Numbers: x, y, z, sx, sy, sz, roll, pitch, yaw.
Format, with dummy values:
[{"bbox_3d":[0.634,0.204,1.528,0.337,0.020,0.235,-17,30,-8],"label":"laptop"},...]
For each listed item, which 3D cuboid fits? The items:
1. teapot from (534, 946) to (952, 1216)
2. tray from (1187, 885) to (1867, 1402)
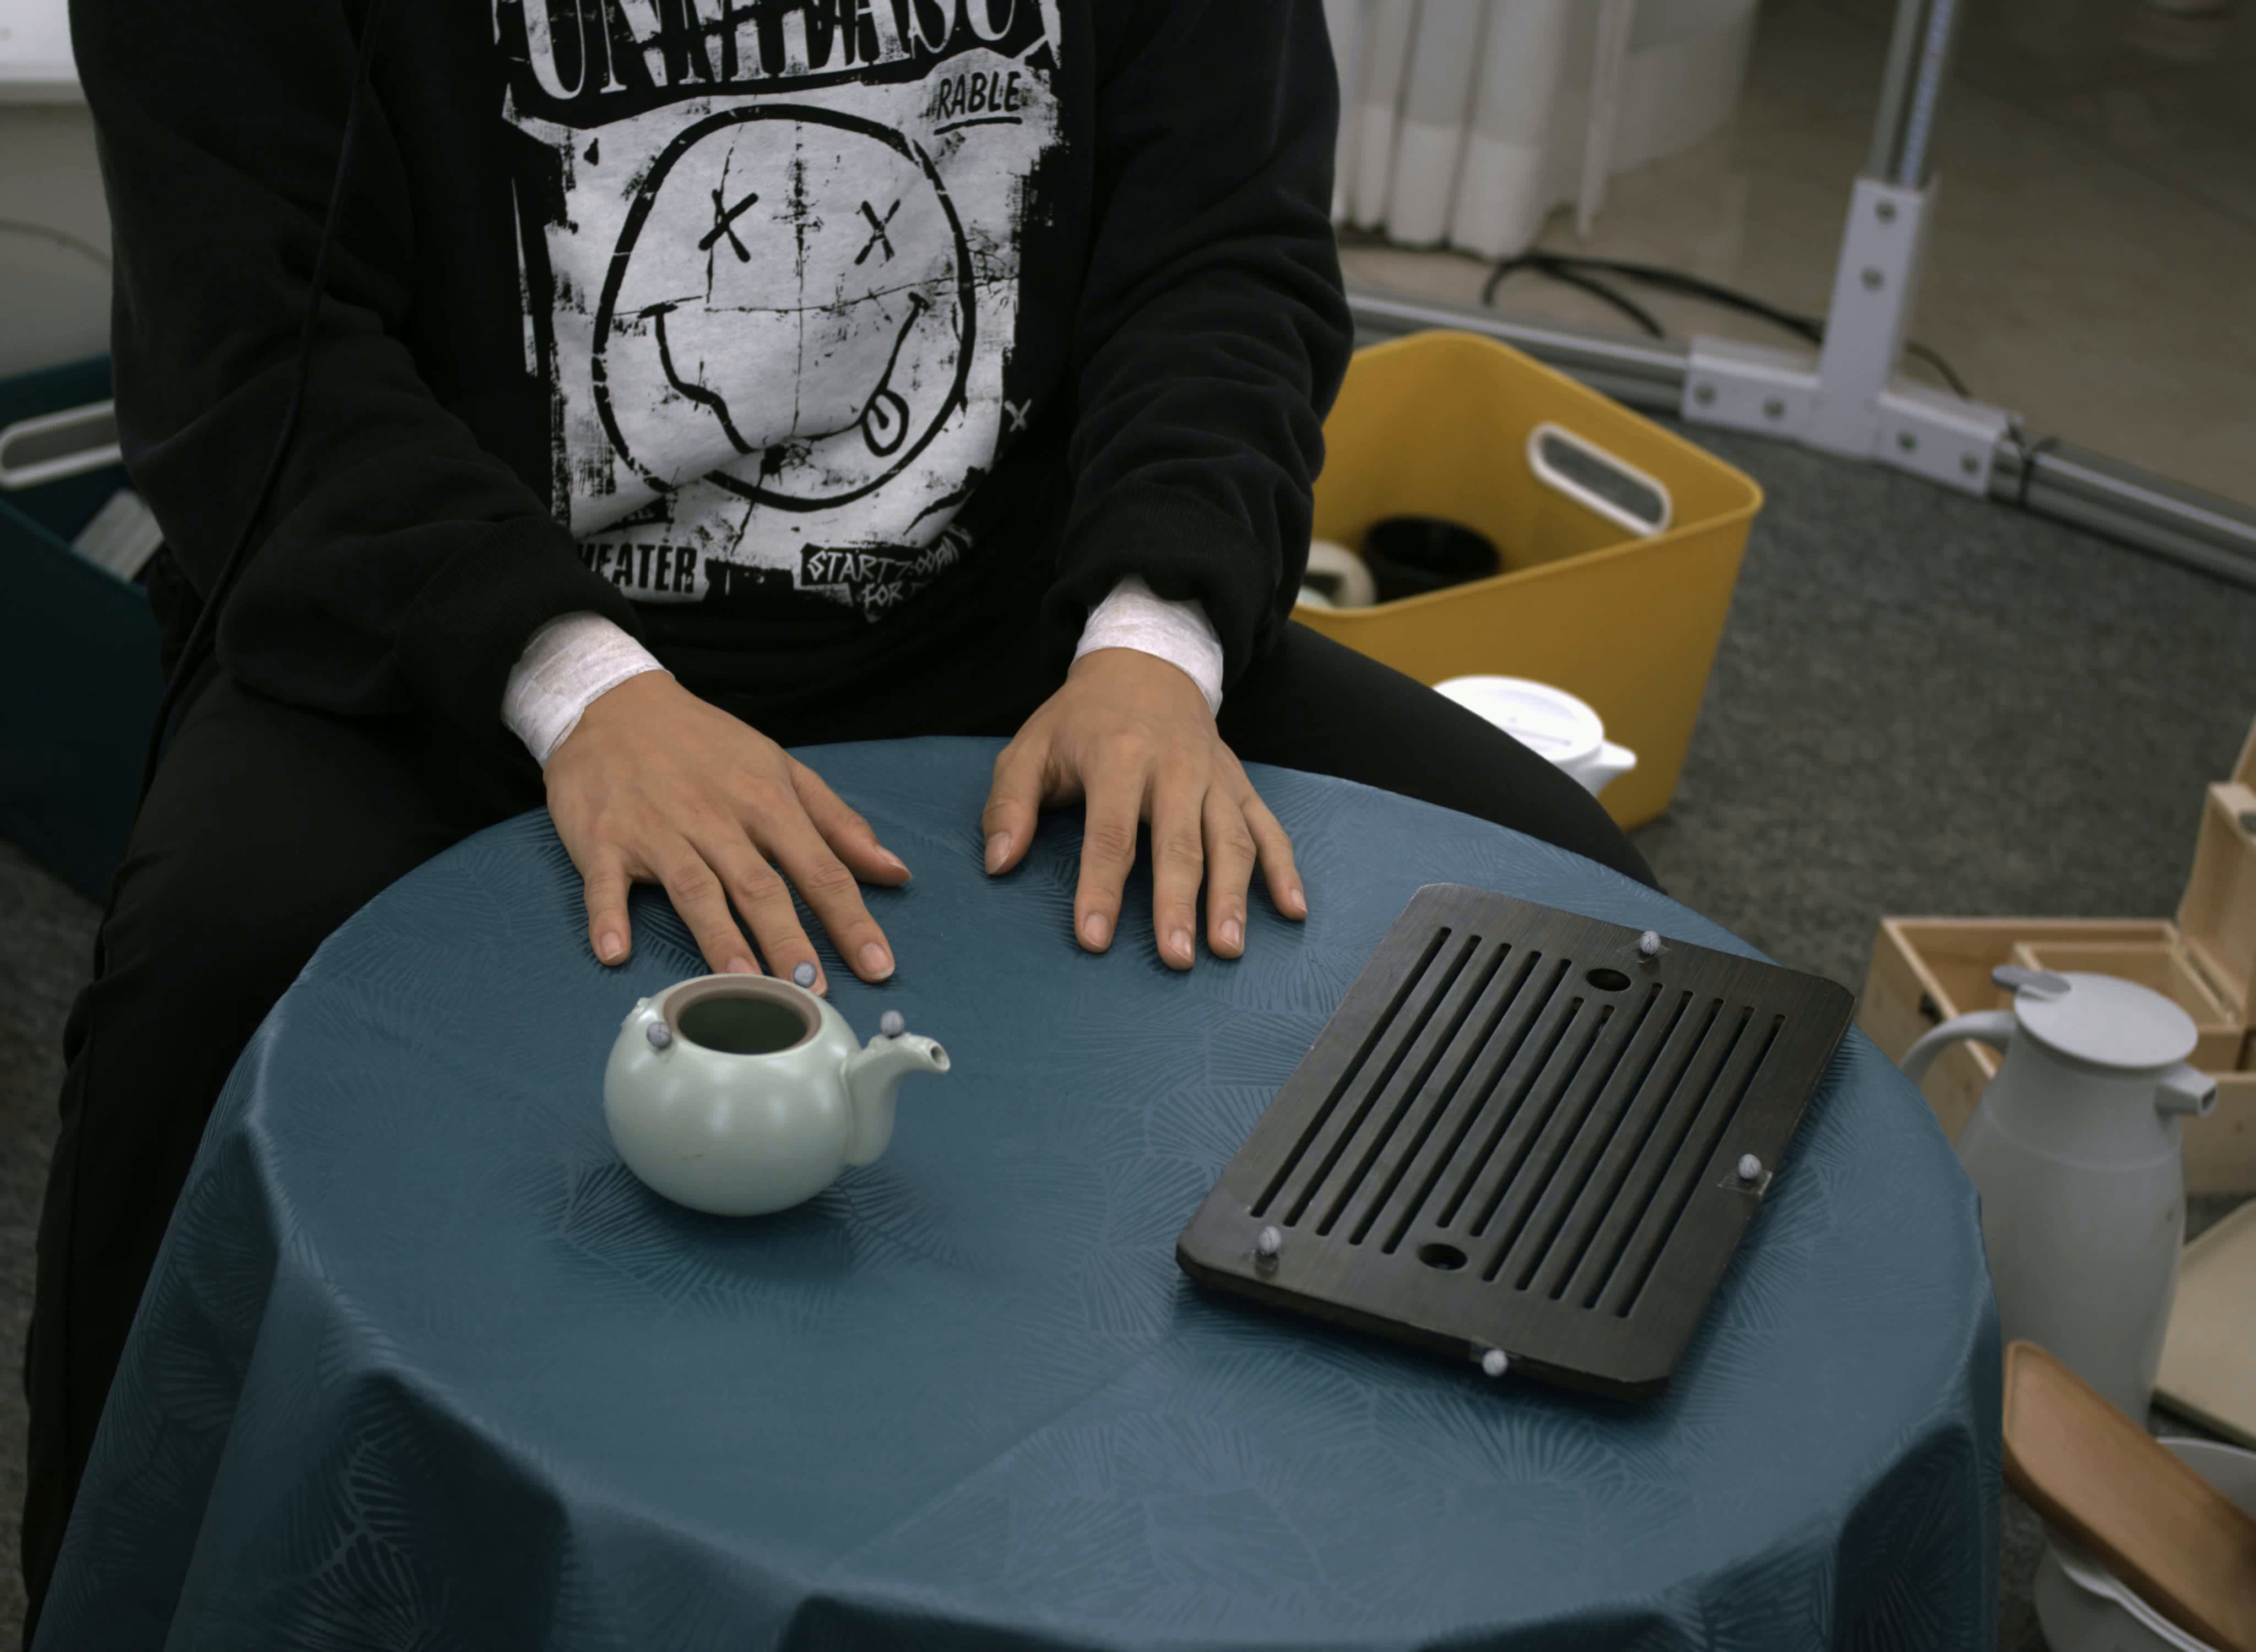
[{"bbox_3d":[-0.130,0.088,1.767,0.144,0.074,0.088,15,28,13],"label":"teapot"},{"bbox_3d":[0.144,0.107,1.850,0.170,0.018,0.306,14,28,15],"label":"tray"}]
